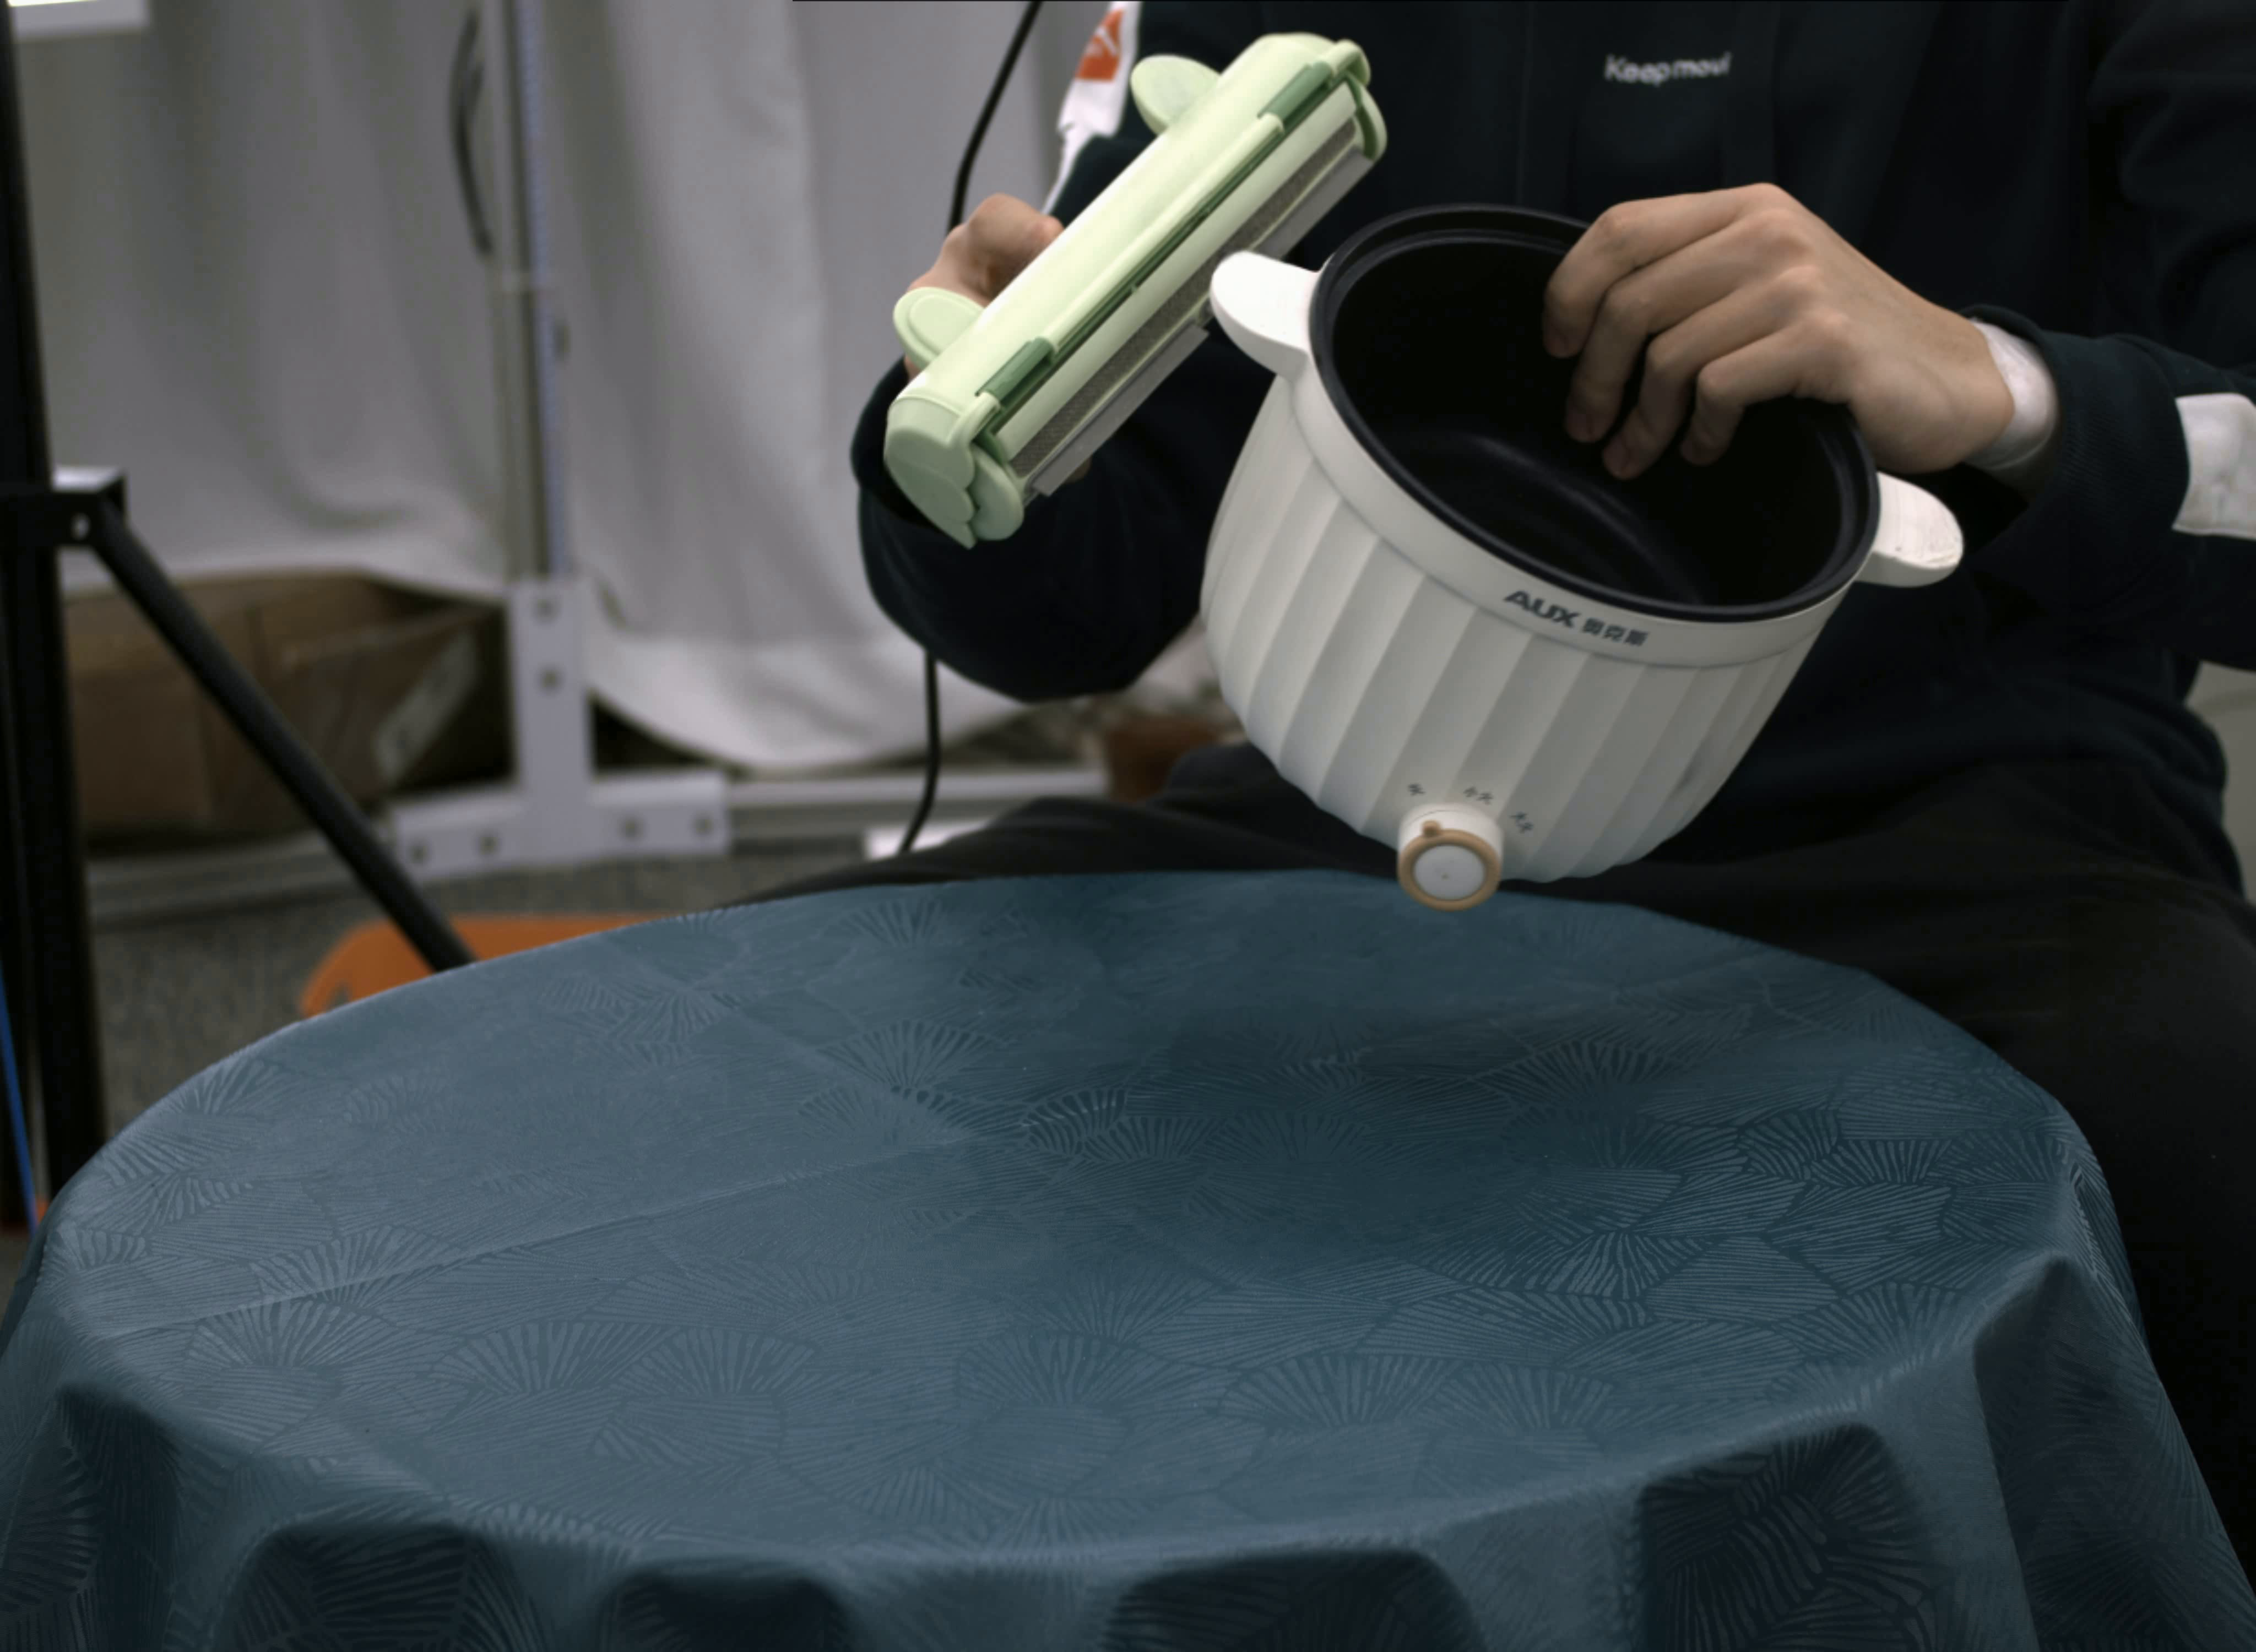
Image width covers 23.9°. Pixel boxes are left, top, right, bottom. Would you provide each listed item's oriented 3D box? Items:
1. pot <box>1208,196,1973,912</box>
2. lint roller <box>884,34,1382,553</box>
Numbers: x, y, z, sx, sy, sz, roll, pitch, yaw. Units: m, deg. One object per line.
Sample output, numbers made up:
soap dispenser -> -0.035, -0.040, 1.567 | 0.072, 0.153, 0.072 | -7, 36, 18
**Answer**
pot -> 0.119, -0.074, 1.592 | 0.238, 0.143, 0.192 | 17, 36, -7
lint roller -> -0.024, -0.163, 1.696 | 0.197, 0.081, 0.186 | -47, 11, -23
